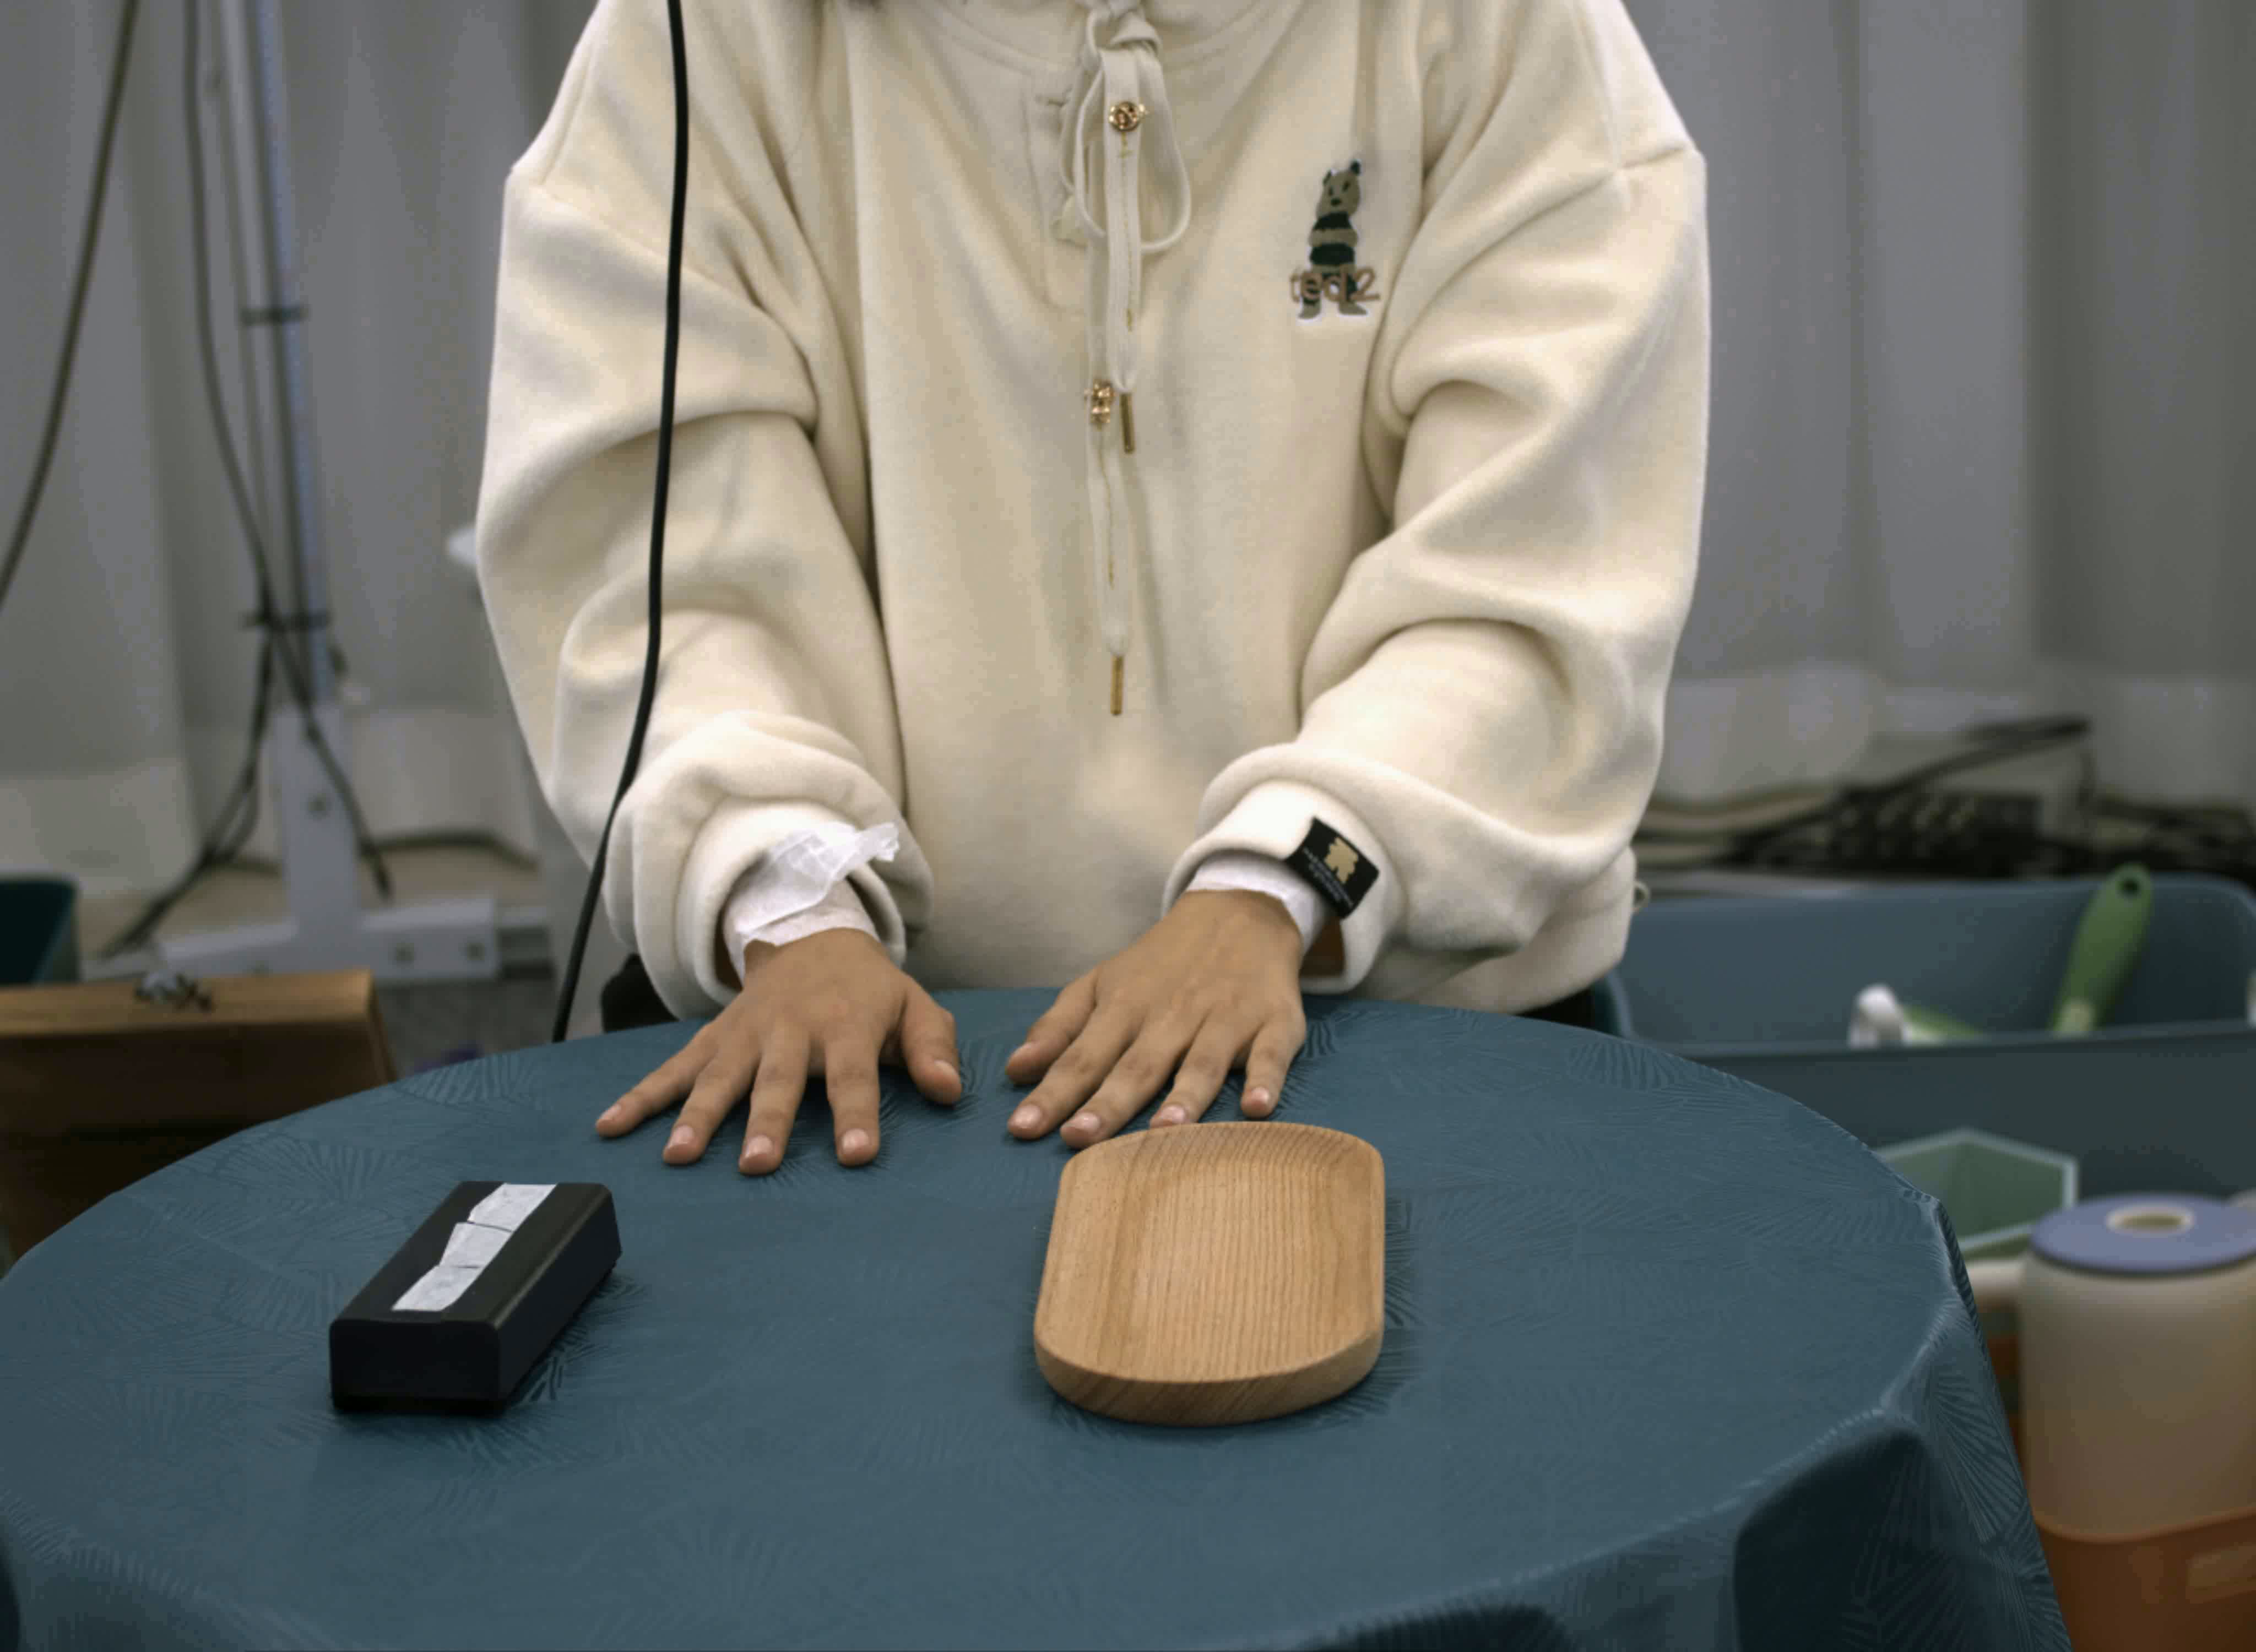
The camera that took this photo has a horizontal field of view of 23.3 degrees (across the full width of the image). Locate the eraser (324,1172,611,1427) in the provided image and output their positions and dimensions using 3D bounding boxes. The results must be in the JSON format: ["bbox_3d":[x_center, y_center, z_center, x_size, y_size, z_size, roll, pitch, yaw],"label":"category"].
[{"bbox_3d":[-0.193,0.138,1.606,0.053,0.030,0.126,6,17,8],"label":"eraser"}]

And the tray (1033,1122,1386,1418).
[{"bbox_3d":[0.025,0.129,1.624,0.101,0.020,0.232,-2,13,1],"label":"tray"}]
